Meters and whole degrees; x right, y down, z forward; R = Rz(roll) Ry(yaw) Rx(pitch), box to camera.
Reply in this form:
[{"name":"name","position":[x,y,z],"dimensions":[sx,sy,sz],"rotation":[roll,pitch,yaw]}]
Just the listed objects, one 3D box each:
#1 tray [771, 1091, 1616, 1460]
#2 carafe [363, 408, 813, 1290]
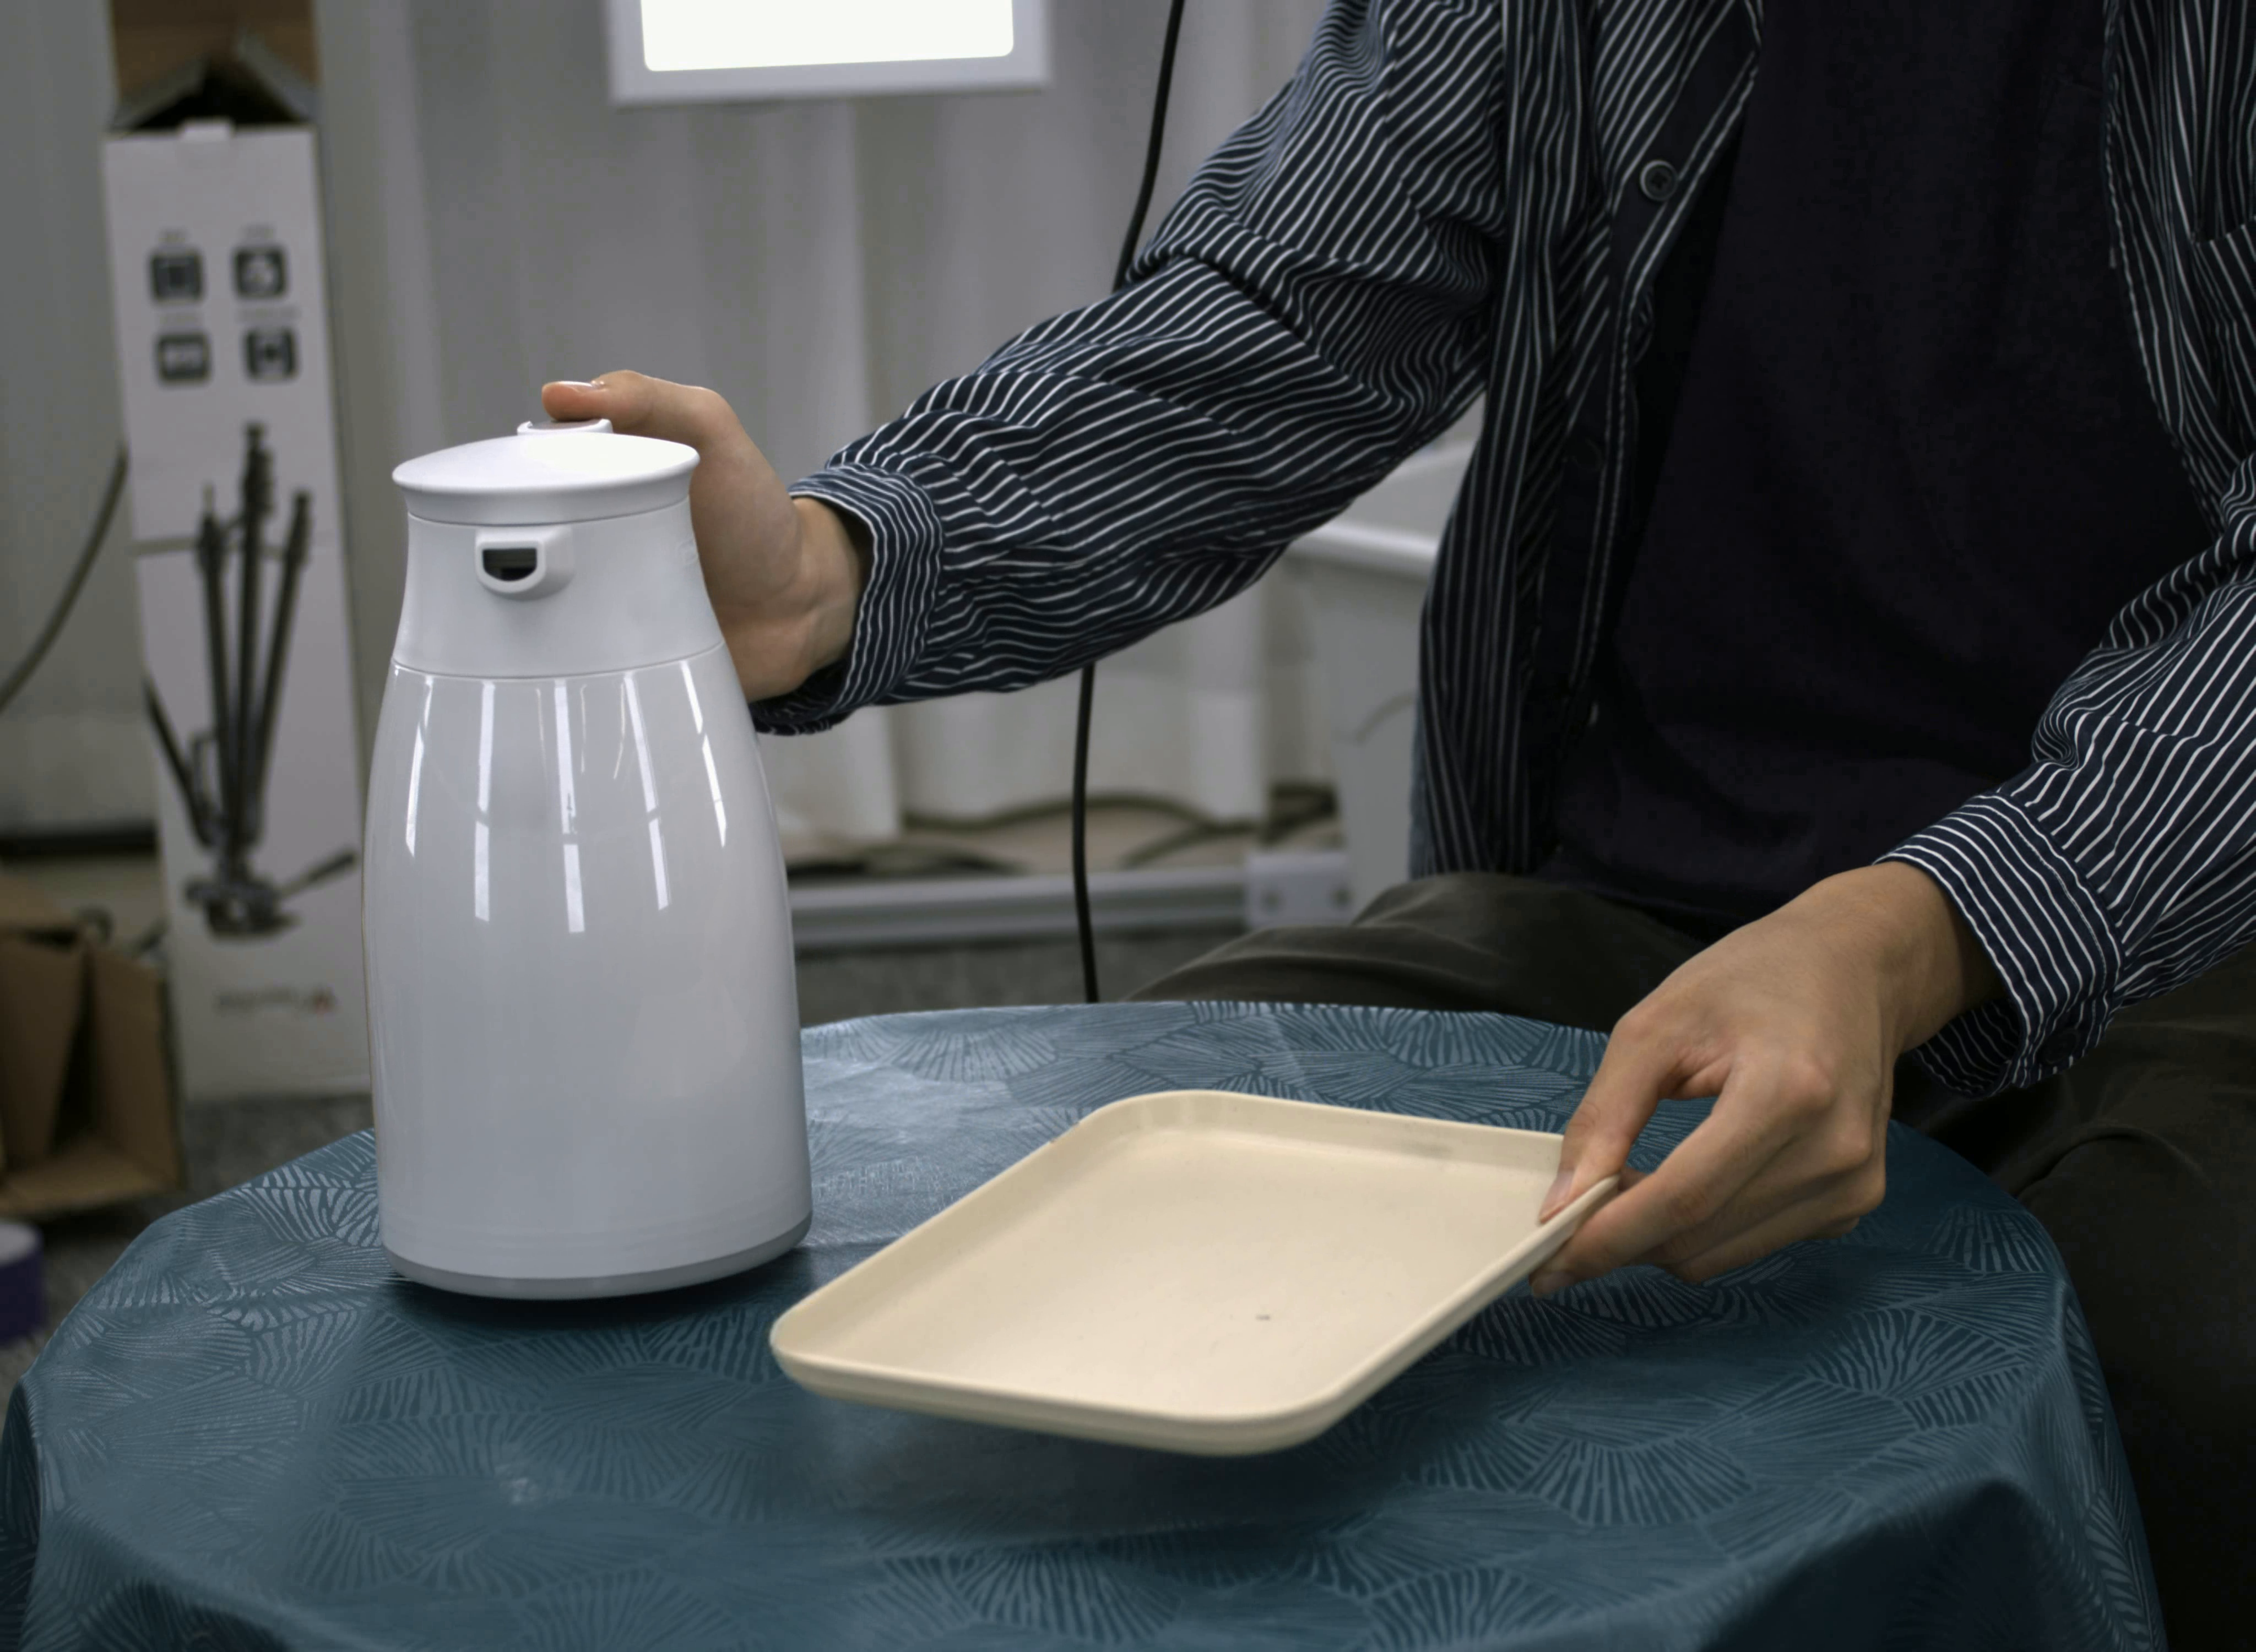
[{"name":"tray","position":[0.022,0.124,1.527],"dimensions":[0.171,0.017,0.240],"rotation":[6,18,28]},{"name":"carafe","position":[-0.169,-0.001,1.673],"dimensions":[0.132,0.248,0.168],"rotation":[-3,10,1]}]
